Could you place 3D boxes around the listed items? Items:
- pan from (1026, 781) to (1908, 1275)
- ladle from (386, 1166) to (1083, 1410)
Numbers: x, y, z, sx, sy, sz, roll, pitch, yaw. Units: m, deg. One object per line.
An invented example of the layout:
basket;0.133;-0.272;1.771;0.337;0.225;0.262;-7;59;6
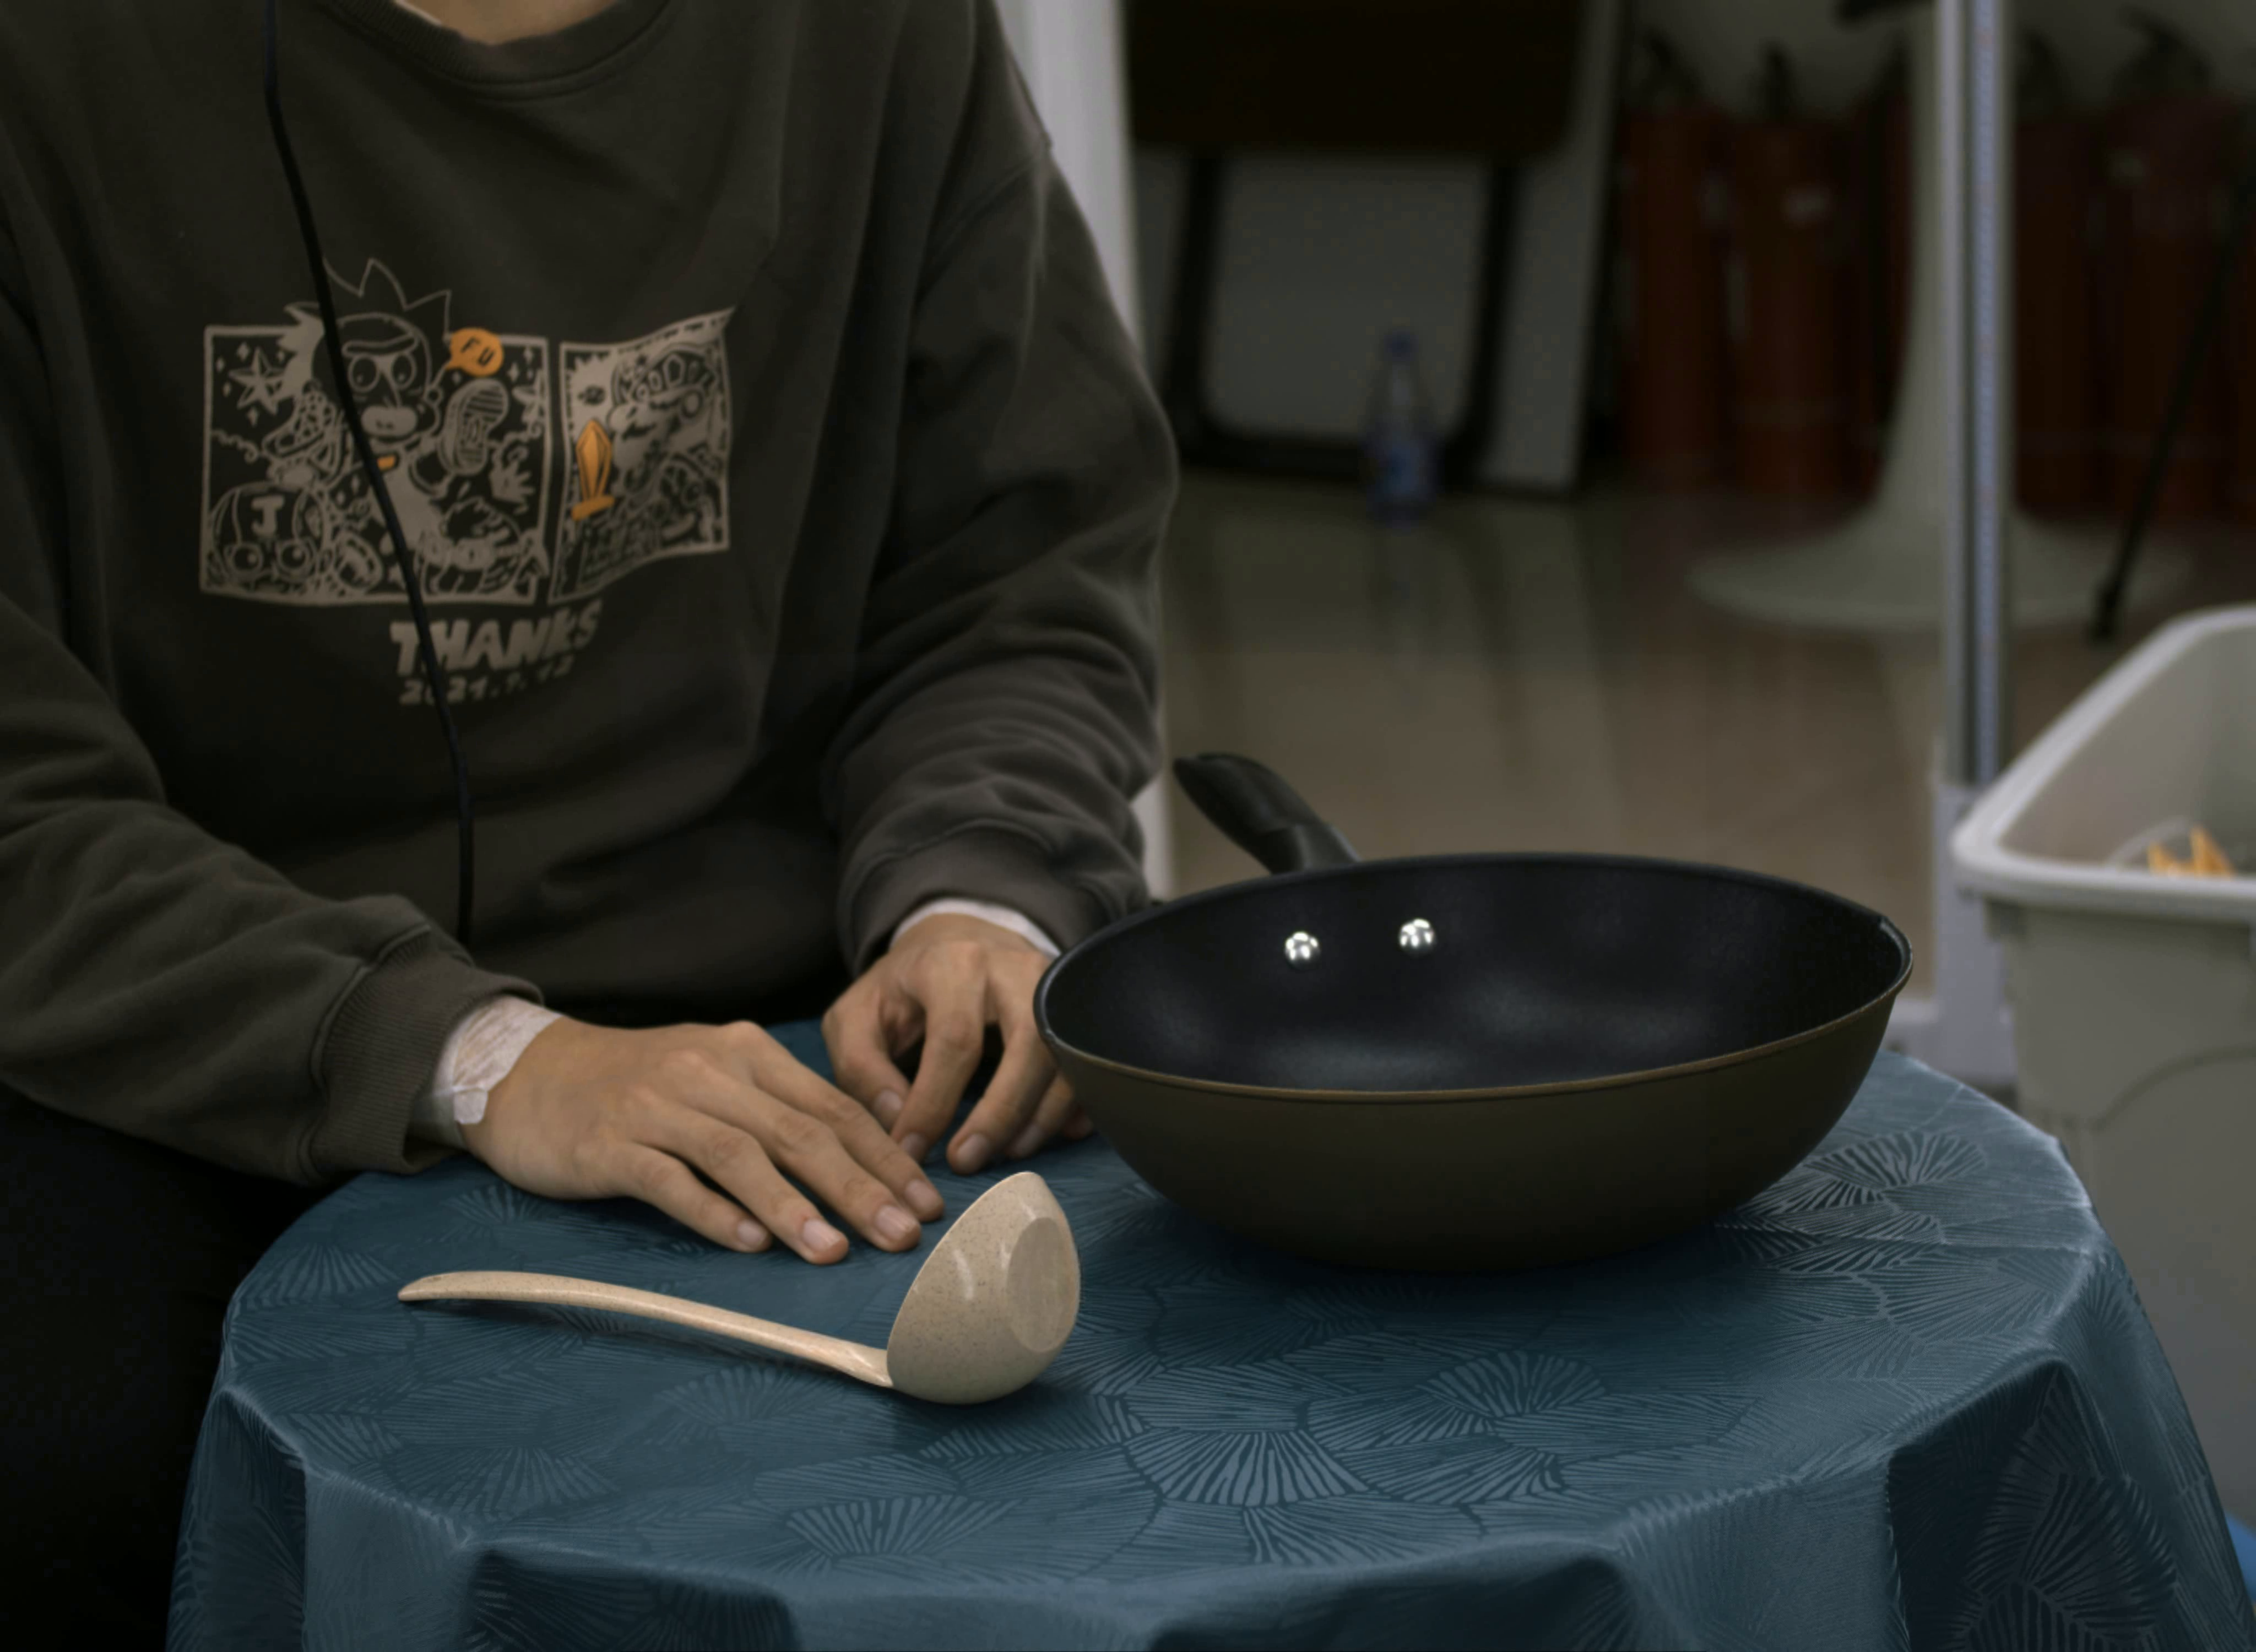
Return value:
pan;0.087;0.065;1.811;0.283;0.088;0.466;-7;13;-13
ladle;-0.129;0.128;1.634;0.255;0.073;0.071;5;21;32
